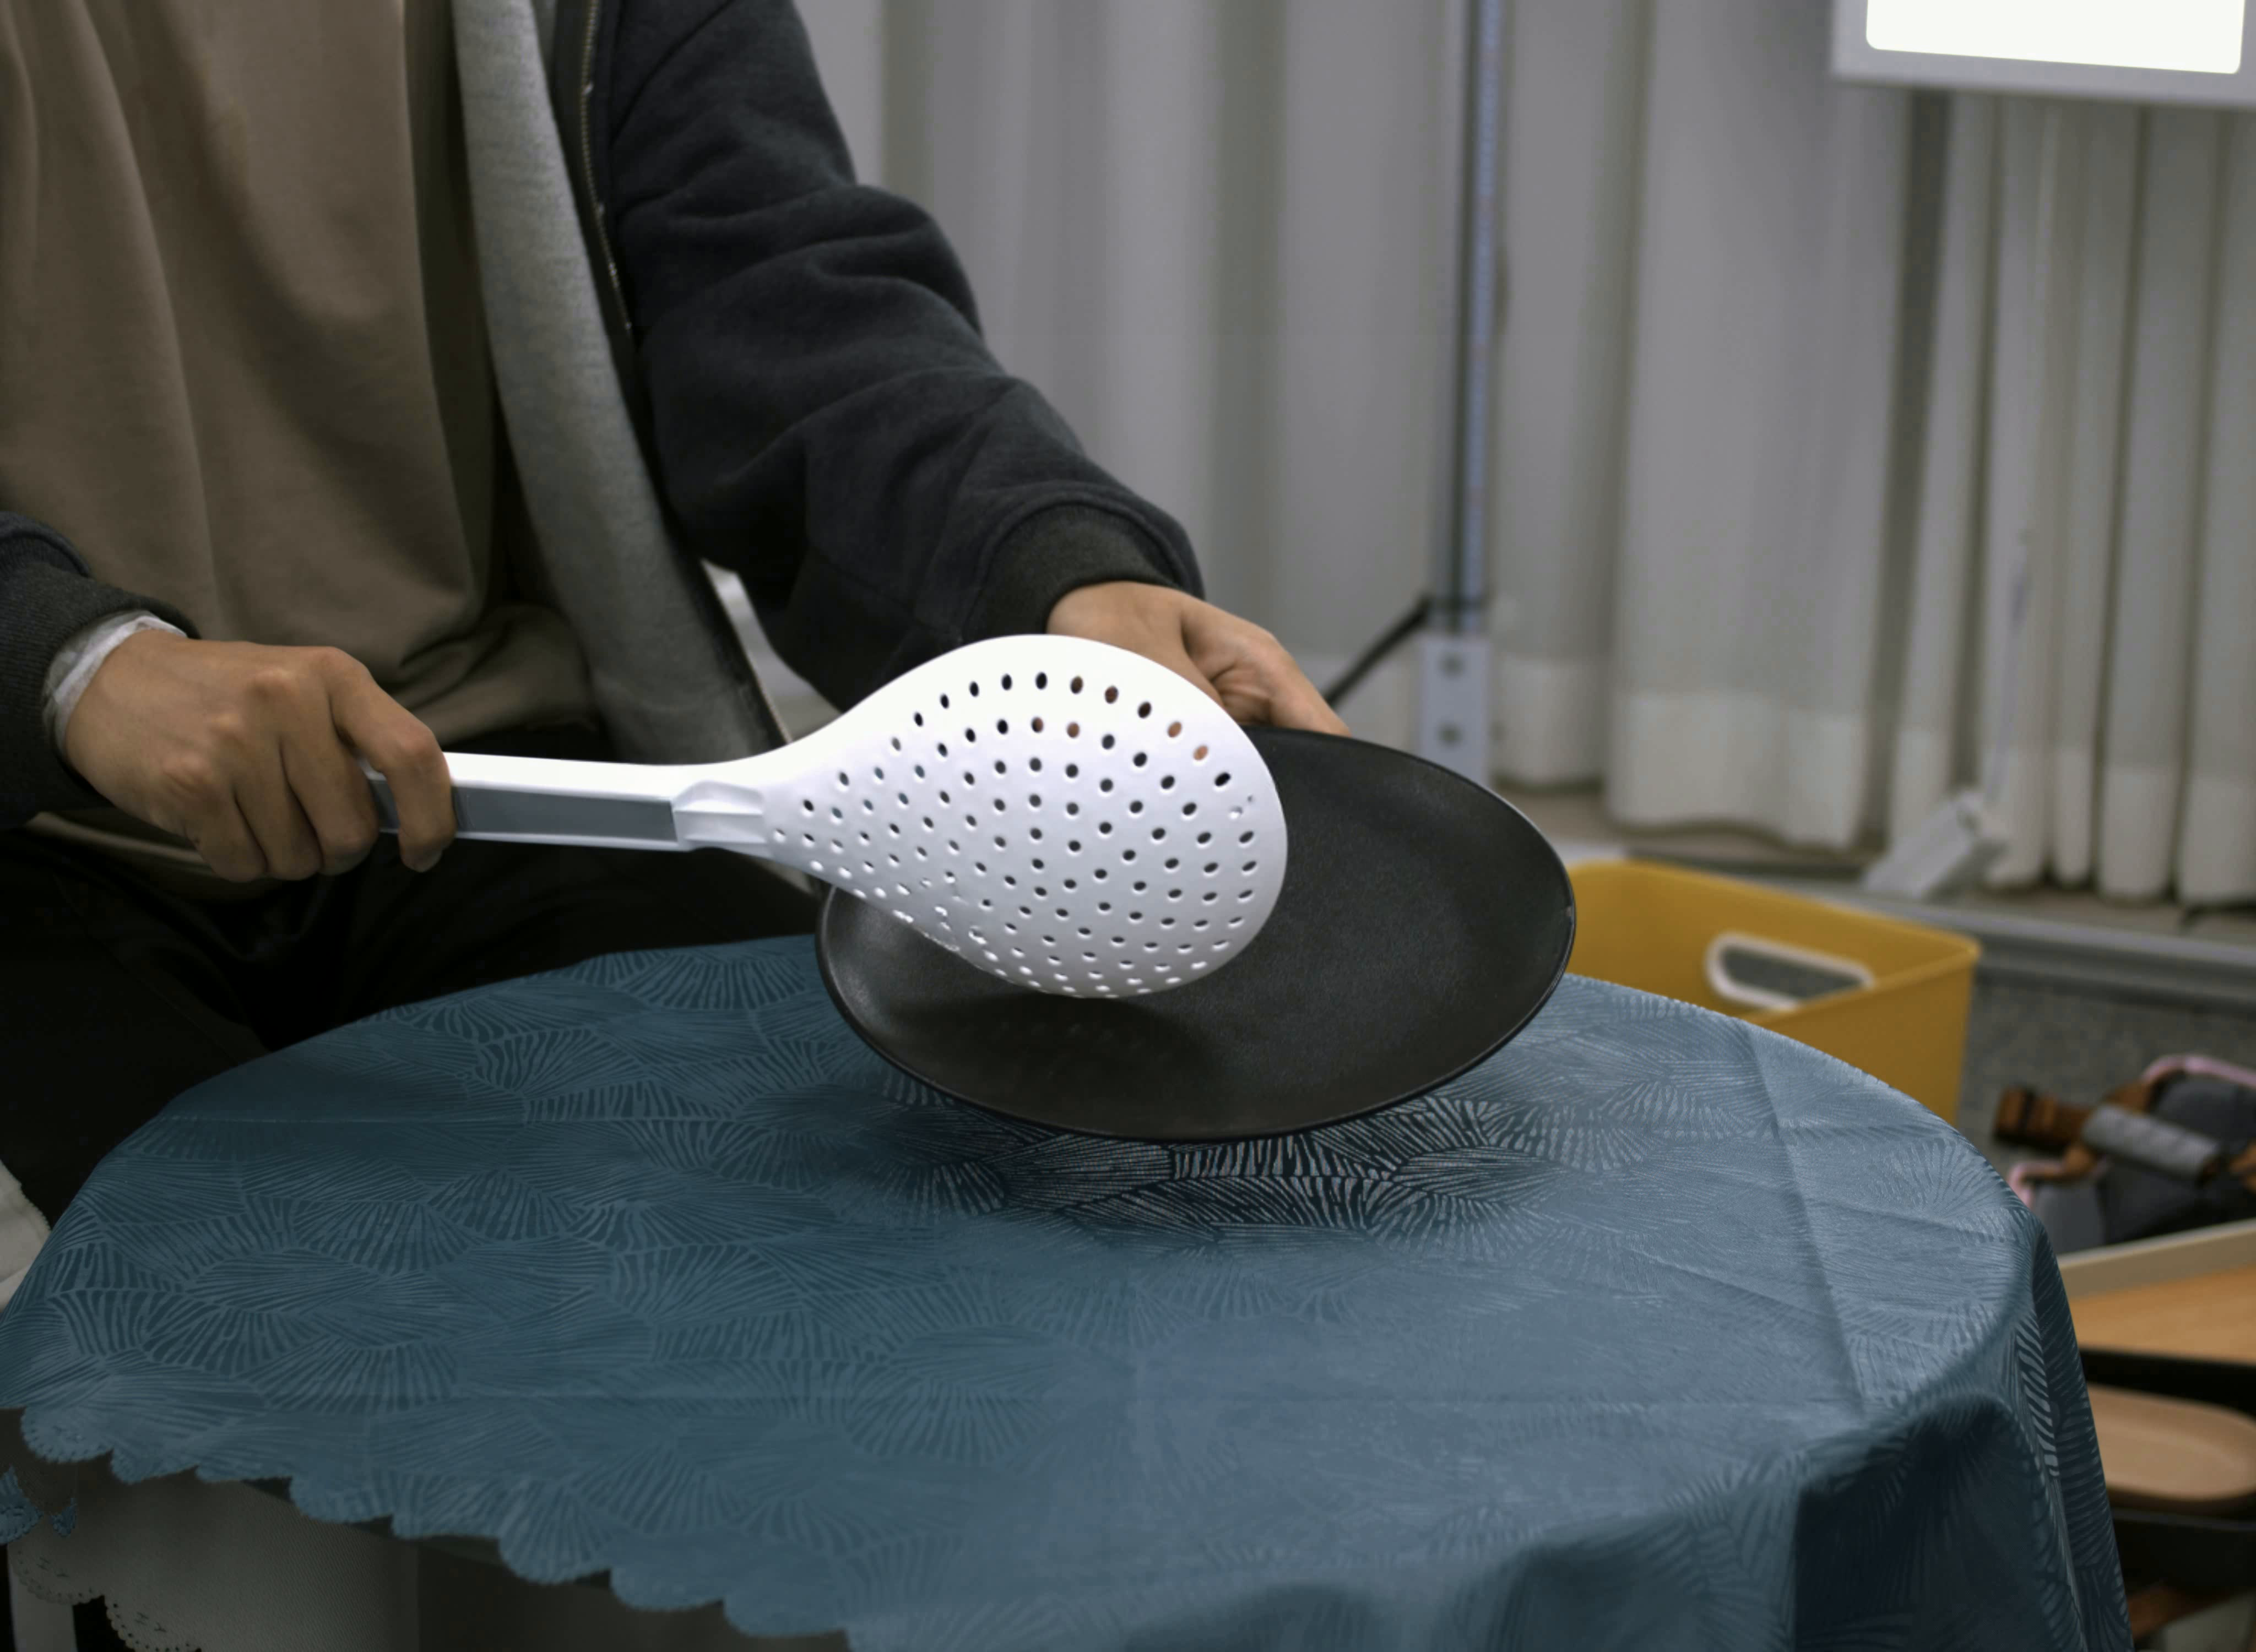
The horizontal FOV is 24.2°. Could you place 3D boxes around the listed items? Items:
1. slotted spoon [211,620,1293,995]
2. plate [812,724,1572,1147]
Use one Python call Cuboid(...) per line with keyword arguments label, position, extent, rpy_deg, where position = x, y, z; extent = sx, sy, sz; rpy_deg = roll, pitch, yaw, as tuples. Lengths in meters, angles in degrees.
Cuboid(label="slotted spoon", position=(-0.122, -0.007, 1.640), extent=(0.347, 0.138, 0.045), rpy_deg=(6, 35, 16))
Cuboid(label="plate", position=(0.020, 0.038, 1.682), extent=(0.243, 0.024, 0.242), rpy_deg=(-1, 32, 1))
